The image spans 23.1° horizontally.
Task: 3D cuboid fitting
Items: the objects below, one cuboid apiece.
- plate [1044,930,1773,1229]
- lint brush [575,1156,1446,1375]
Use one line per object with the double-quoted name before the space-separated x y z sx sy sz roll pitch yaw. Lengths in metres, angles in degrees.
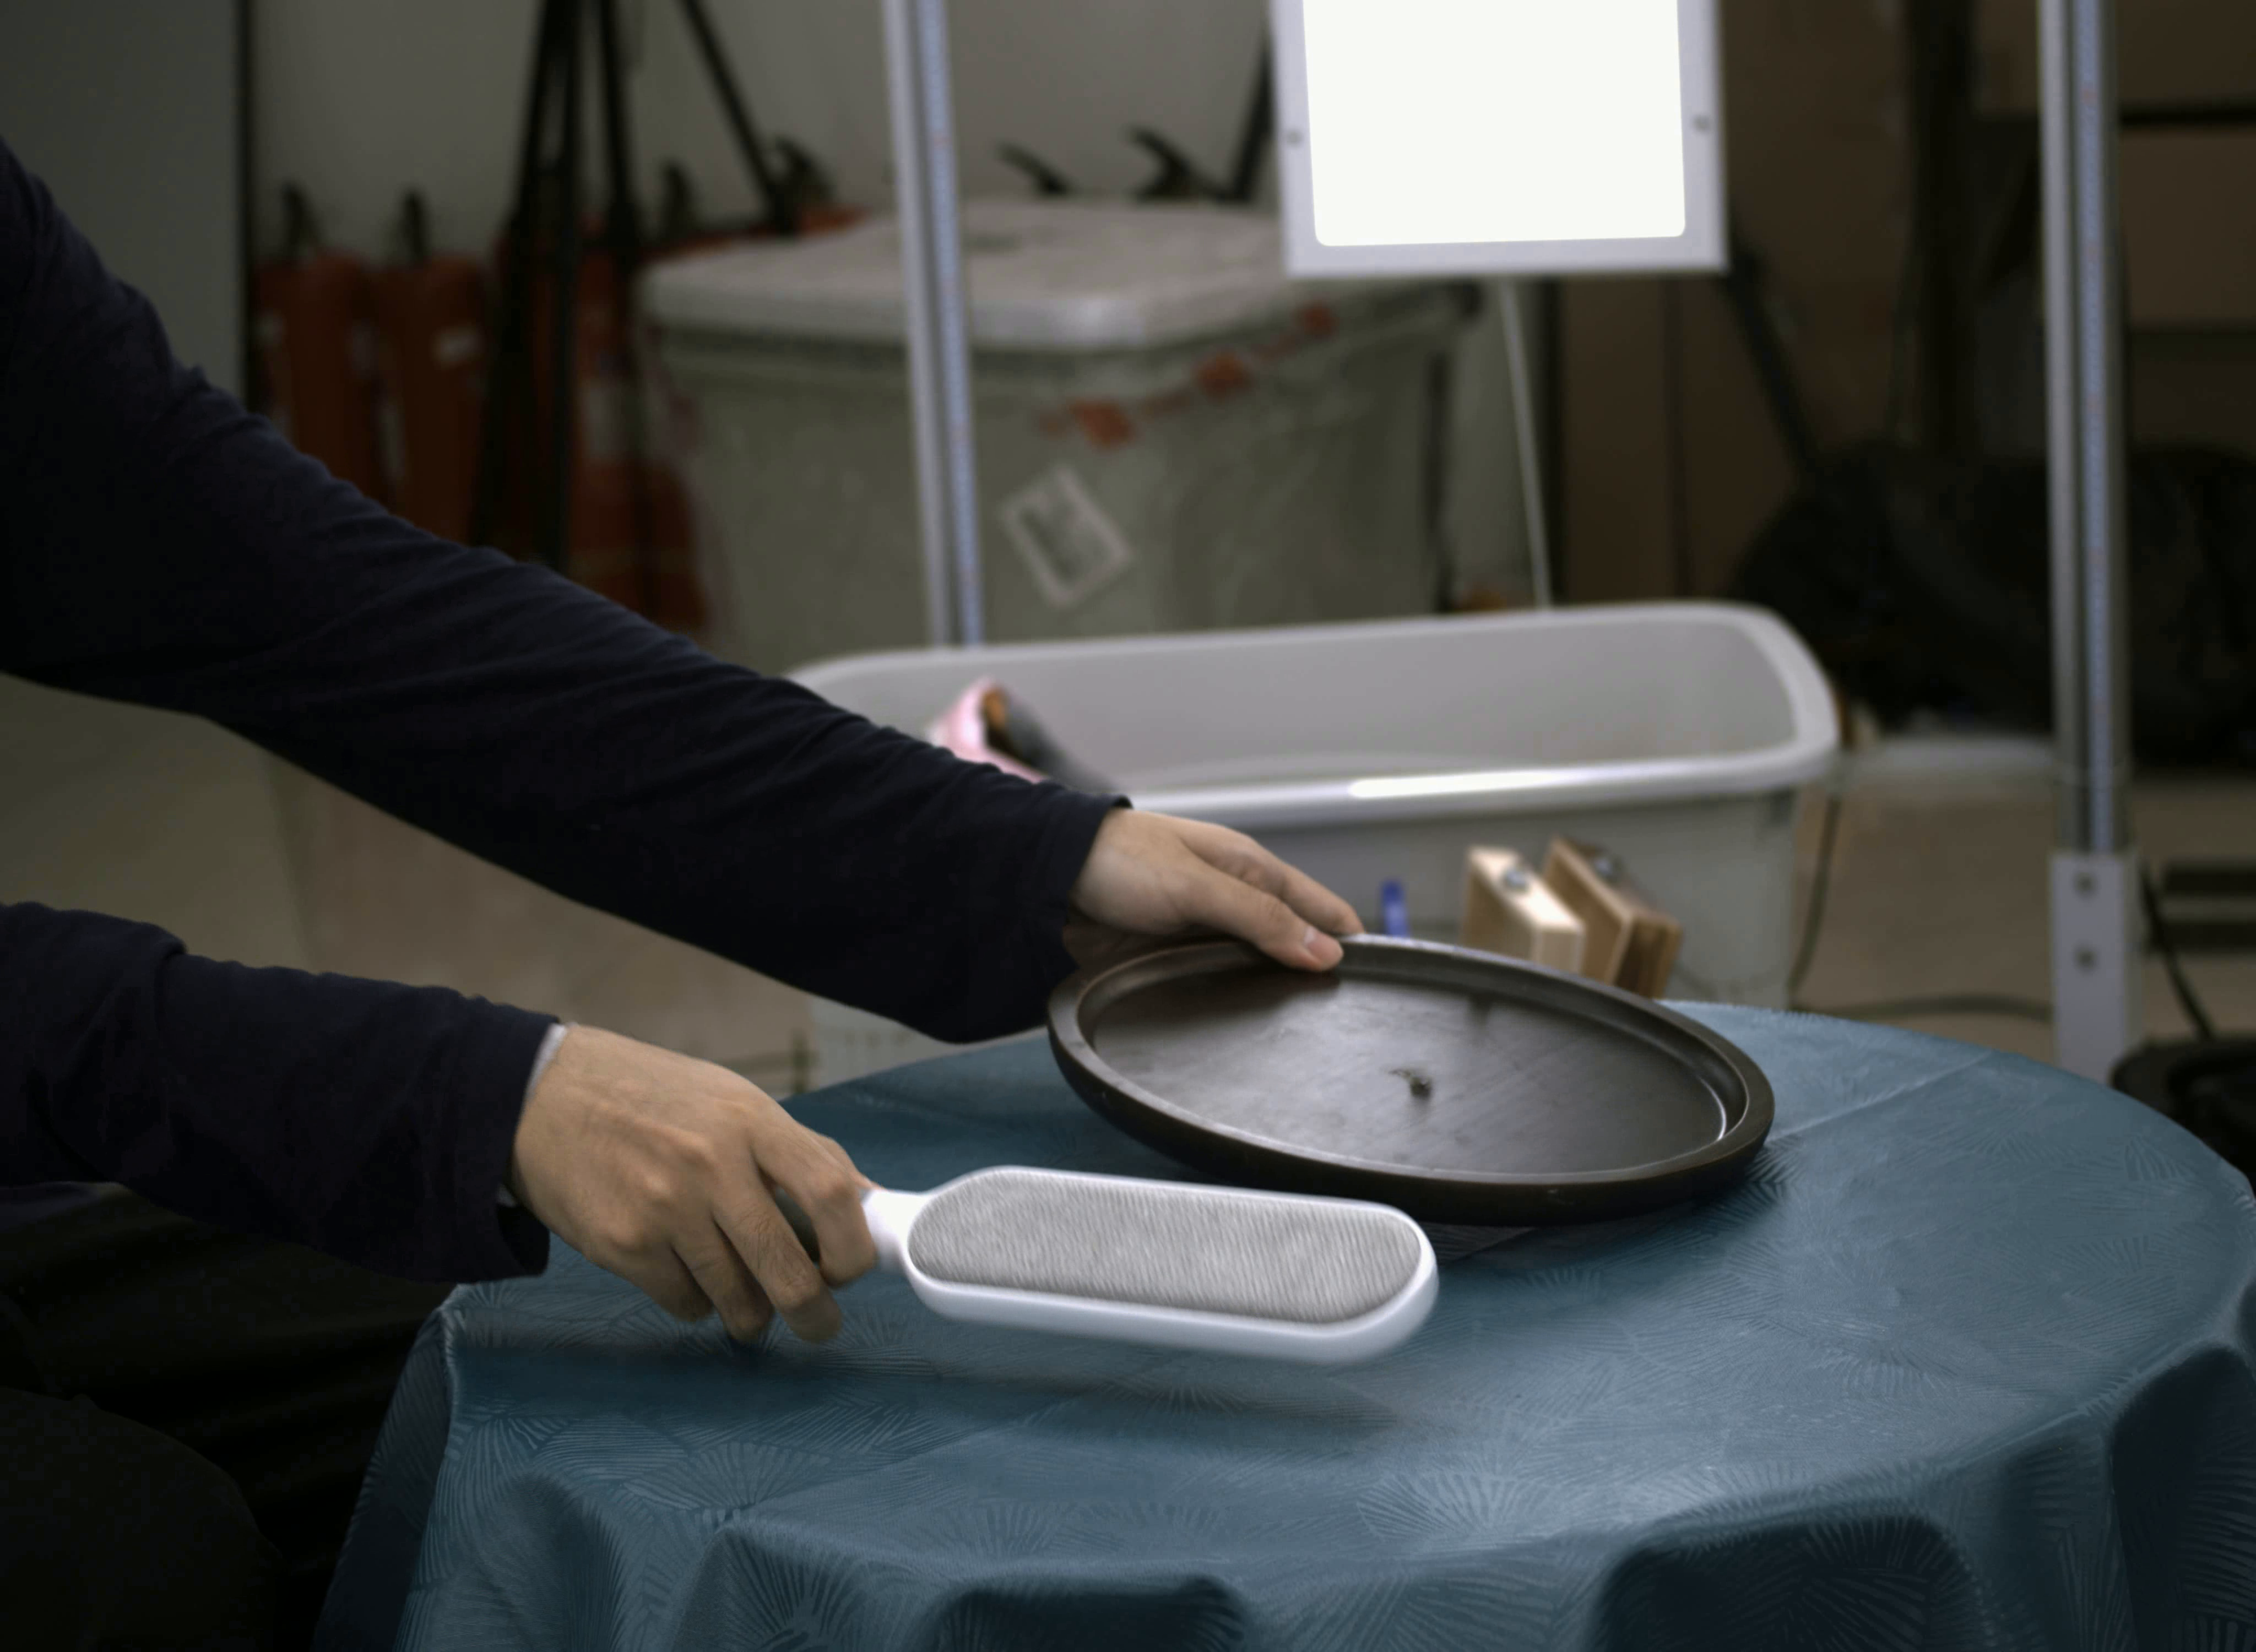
"plate" 0.097 0.086 1.895 0.253 0.029 0.254 6 15 -3
"lint brush" -0.043 0.130 1.720 0.315 0.021 0.059 5 50 31
